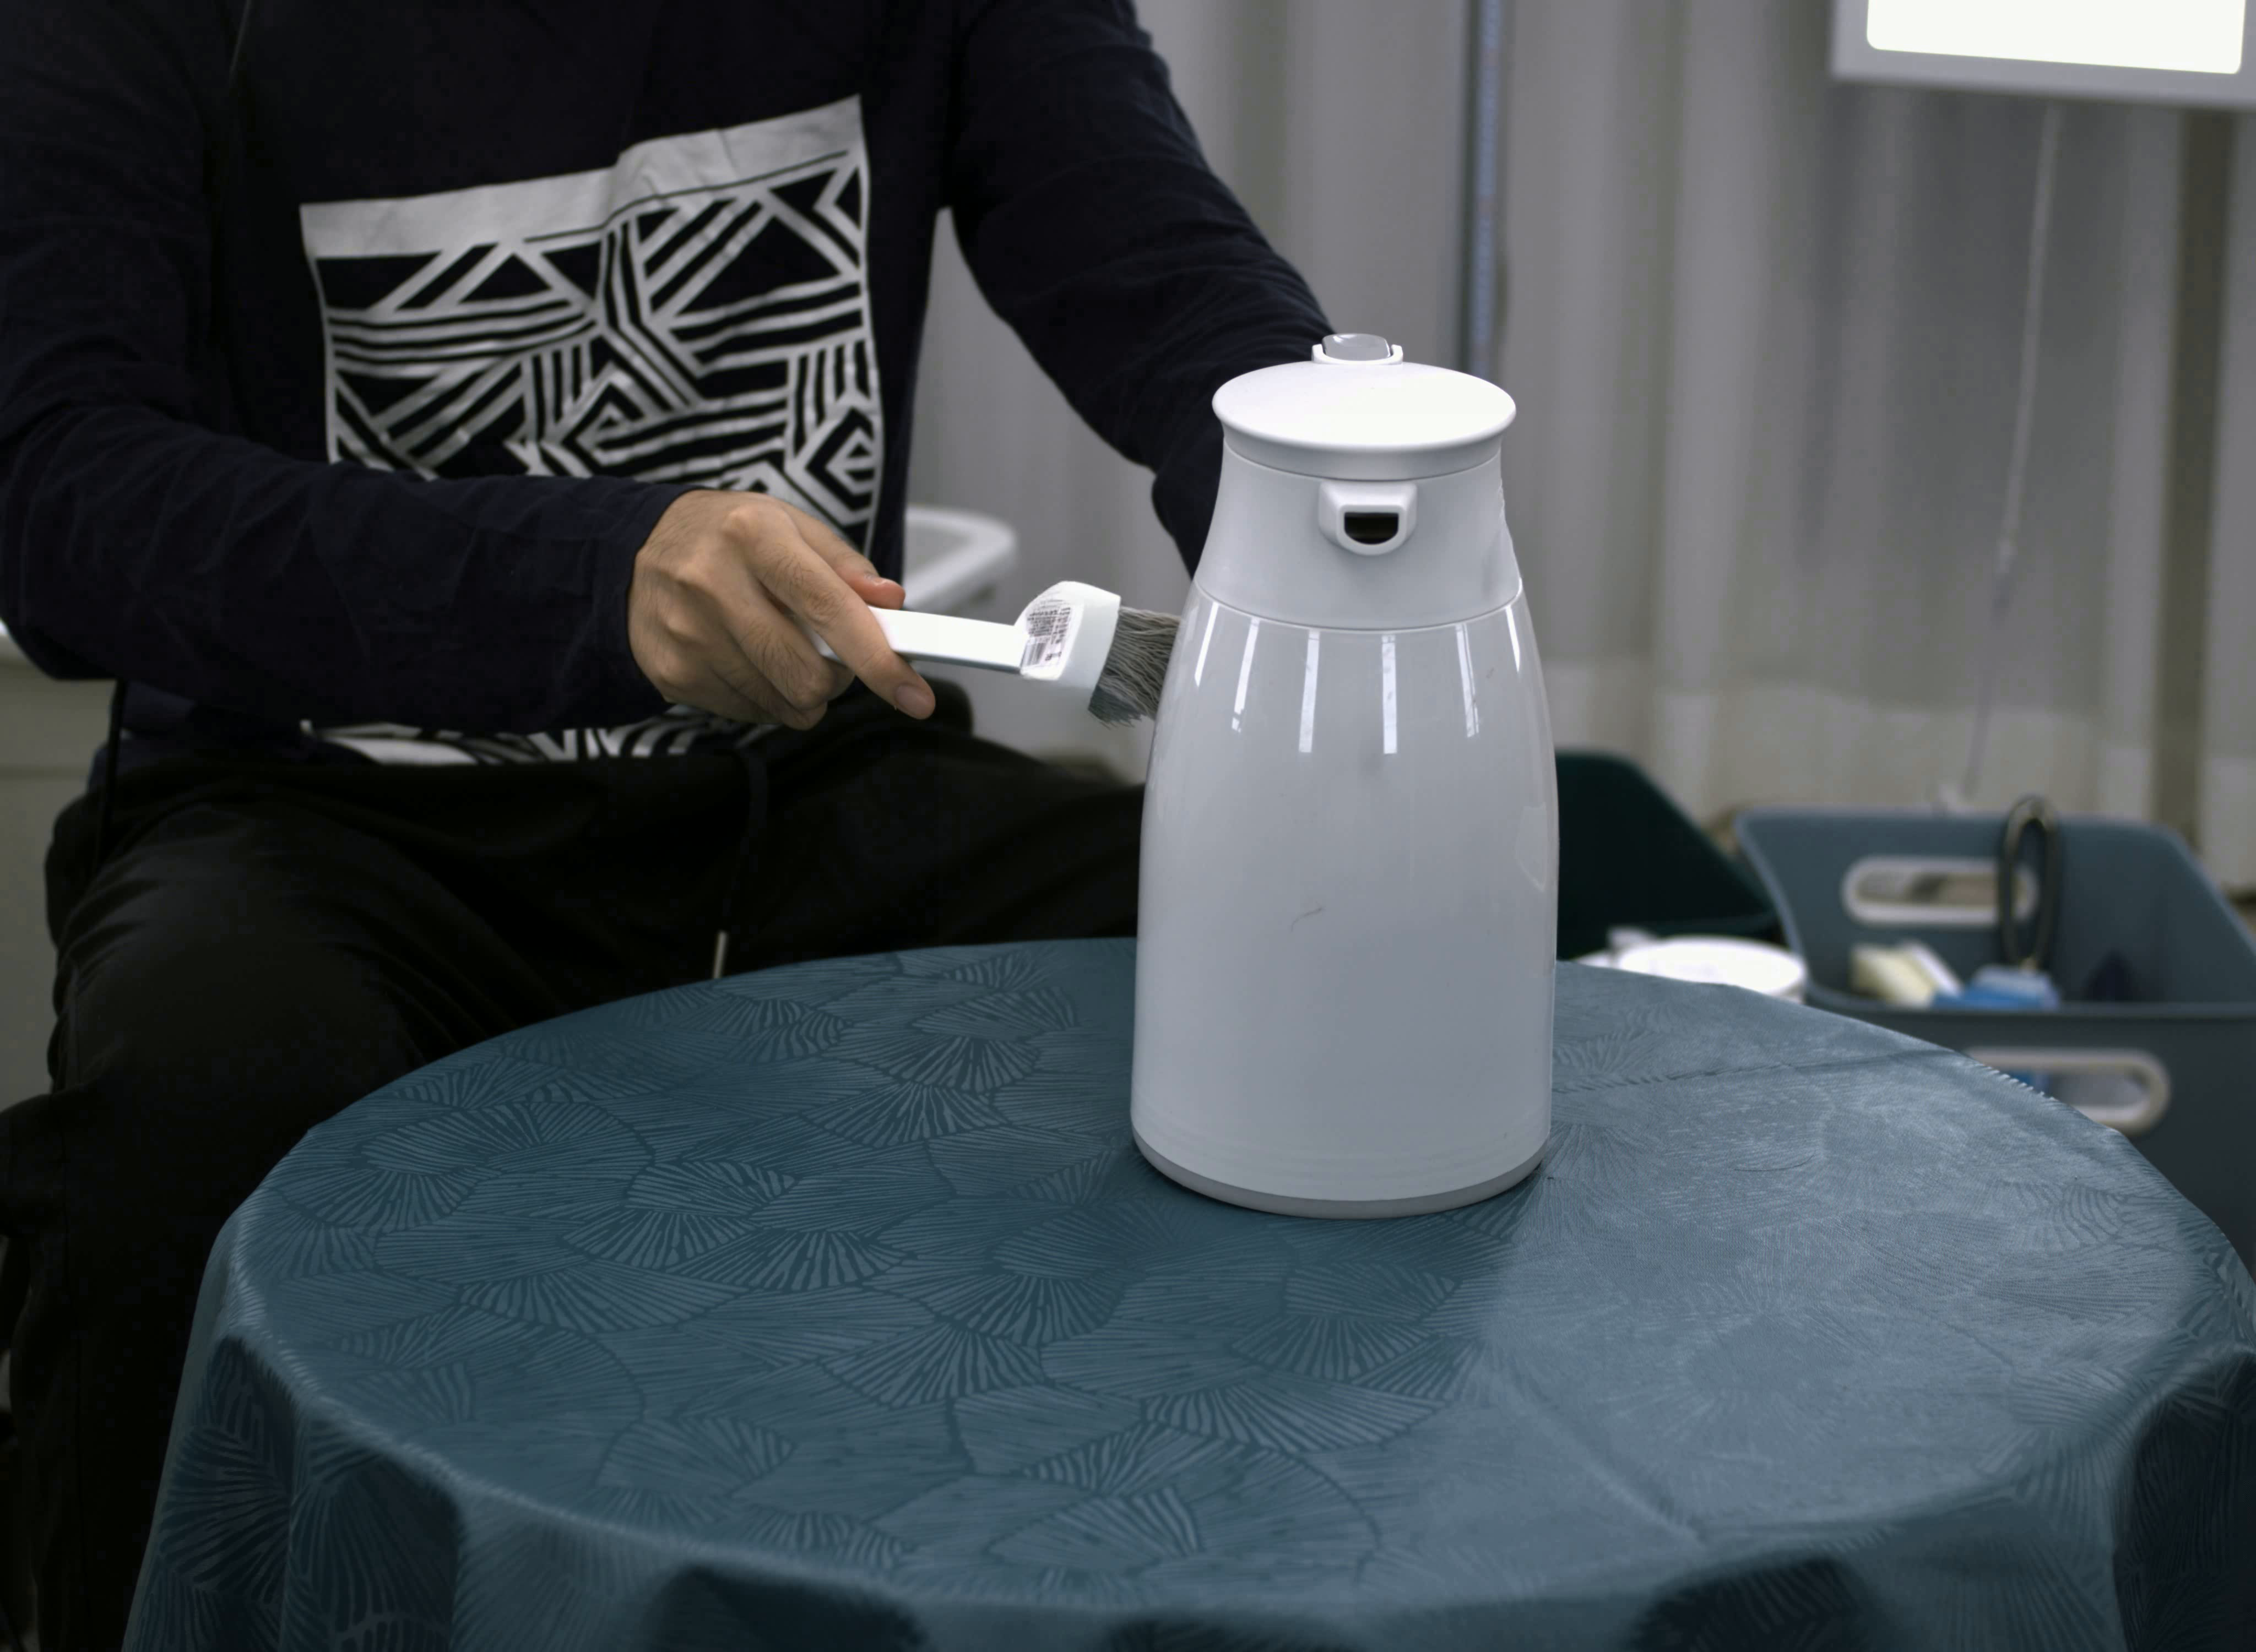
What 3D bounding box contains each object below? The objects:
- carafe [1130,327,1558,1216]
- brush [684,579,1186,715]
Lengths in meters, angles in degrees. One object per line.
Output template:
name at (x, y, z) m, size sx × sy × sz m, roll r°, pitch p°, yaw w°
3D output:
carafe at (0.066, -0.026, 1.635) m, size 0.132 × 0.251 × 0.166 m, roll -1°, pitch 21°, yaw -3°
brush at (-0.063, -0.056, 1.715) m, size 0.051 × 0.034 × 0.241 m, roll 19°, pitch -11°, yaw -36°
